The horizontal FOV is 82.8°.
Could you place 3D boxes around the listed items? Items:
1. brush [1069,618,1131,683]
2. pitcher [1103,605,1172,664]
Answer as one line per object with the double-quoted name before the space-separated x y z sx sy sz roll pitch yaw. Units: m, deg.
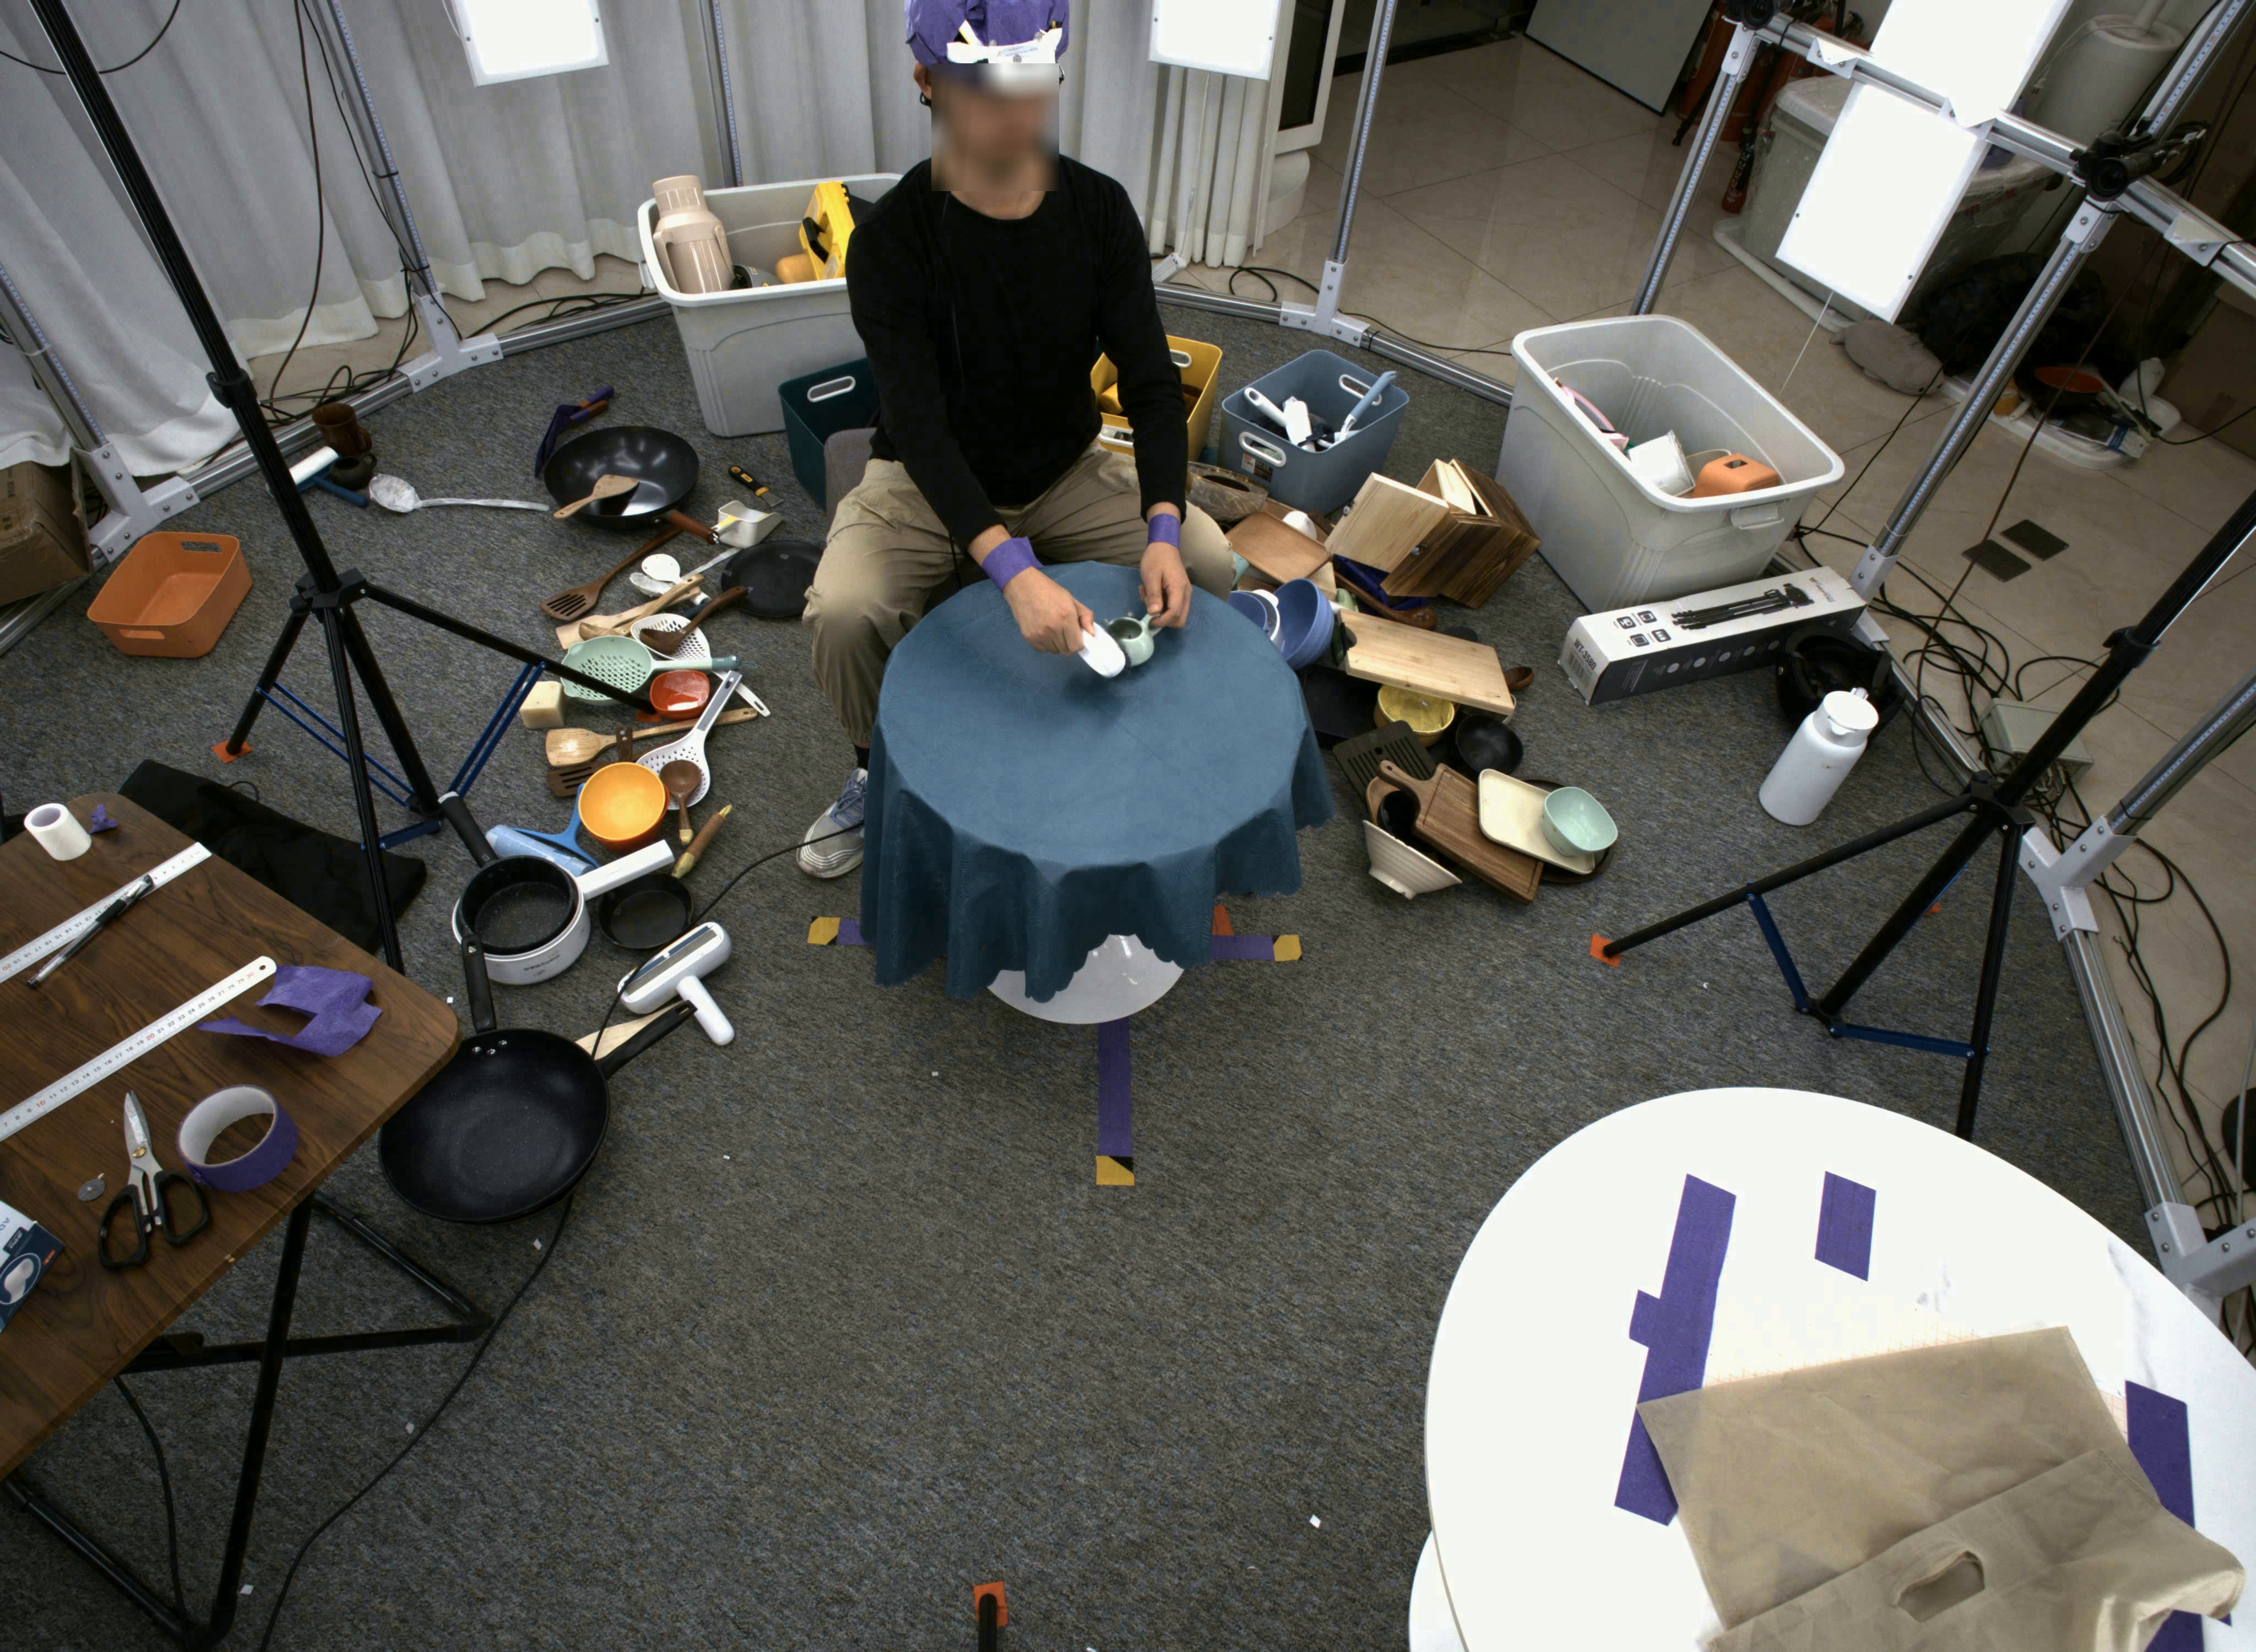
"brush" -0.045 -0.249 1.786 0.050 0.072 0.100 -42 70 9
"pitcher" 0.016 -0.280 1.869 0.108 0.059 0.088 -25 43 -4
